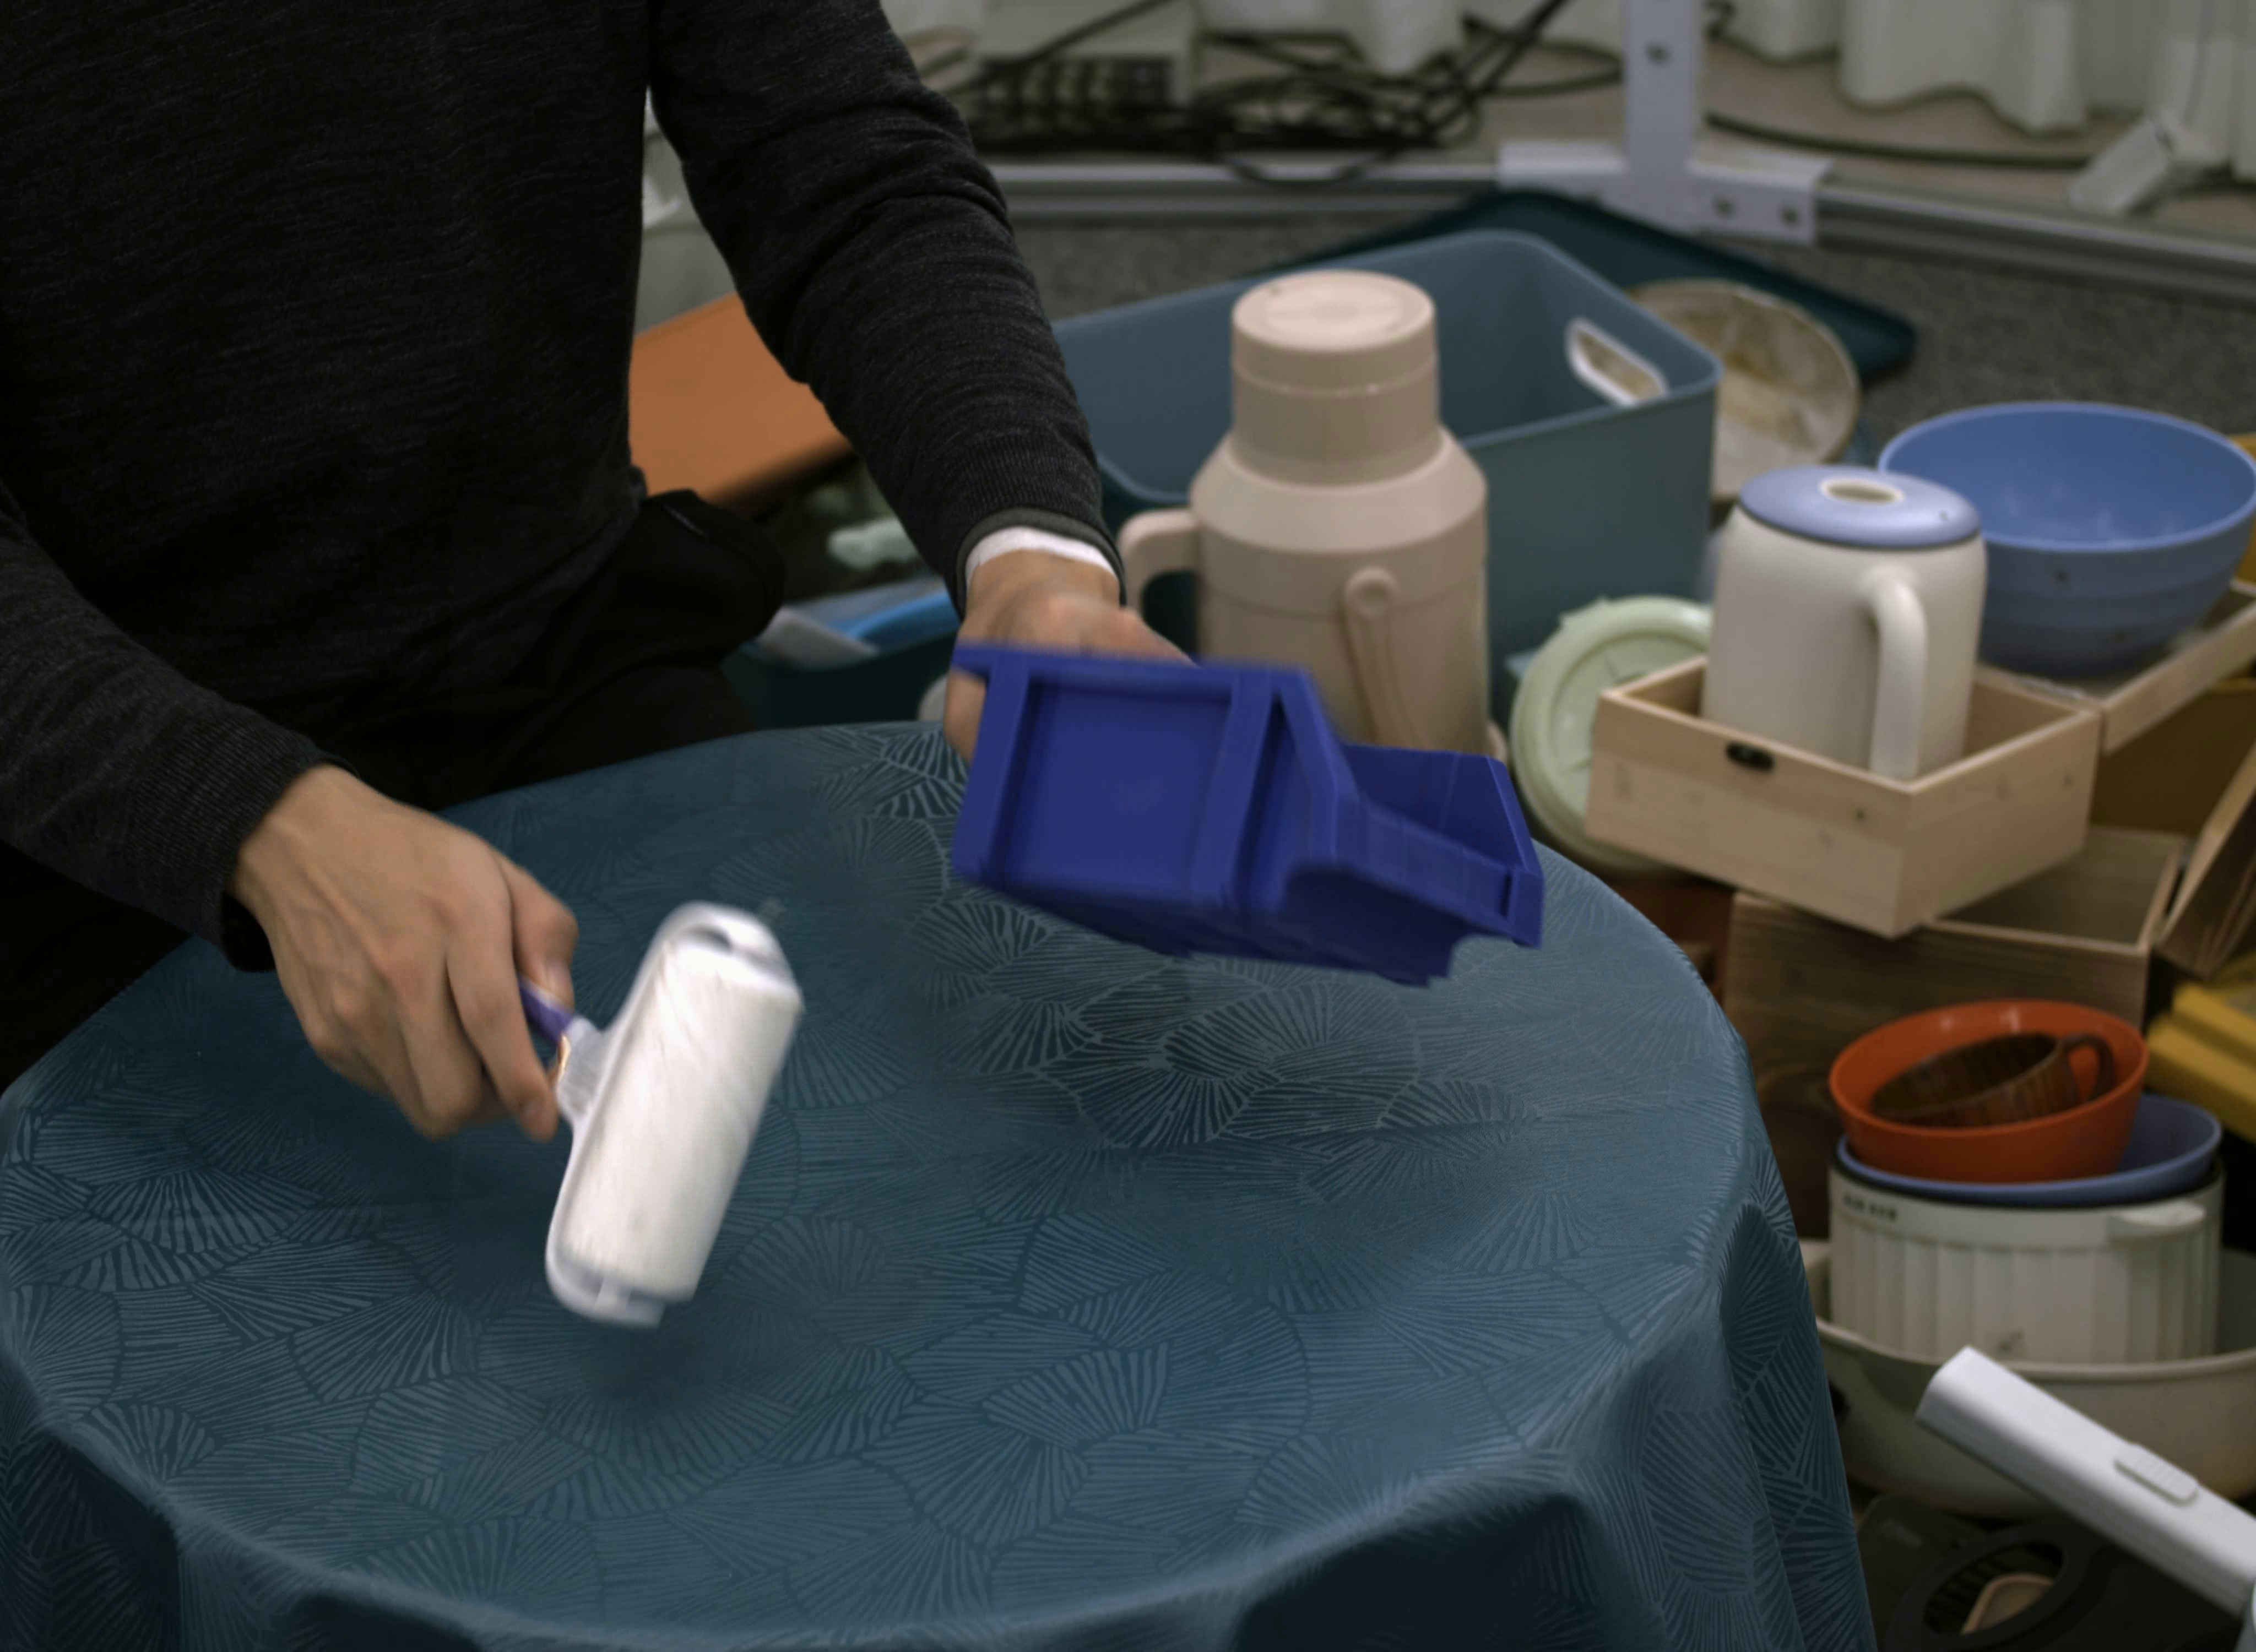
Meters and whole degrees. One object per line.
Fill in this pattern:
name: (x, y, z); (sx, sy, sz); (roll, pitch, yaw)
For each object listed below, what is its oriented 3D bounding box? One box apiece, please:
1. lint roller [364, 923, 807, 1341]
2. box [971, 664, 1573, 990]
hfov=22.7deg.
lint roller: (-0.189, 0.074, 1.786); (0.180, 0.133, 0.050); (25, 1, 33)
box: (0.047, 0.001, 1.876); (0.178, 0.083, 0.124); (2, -13, 40)
